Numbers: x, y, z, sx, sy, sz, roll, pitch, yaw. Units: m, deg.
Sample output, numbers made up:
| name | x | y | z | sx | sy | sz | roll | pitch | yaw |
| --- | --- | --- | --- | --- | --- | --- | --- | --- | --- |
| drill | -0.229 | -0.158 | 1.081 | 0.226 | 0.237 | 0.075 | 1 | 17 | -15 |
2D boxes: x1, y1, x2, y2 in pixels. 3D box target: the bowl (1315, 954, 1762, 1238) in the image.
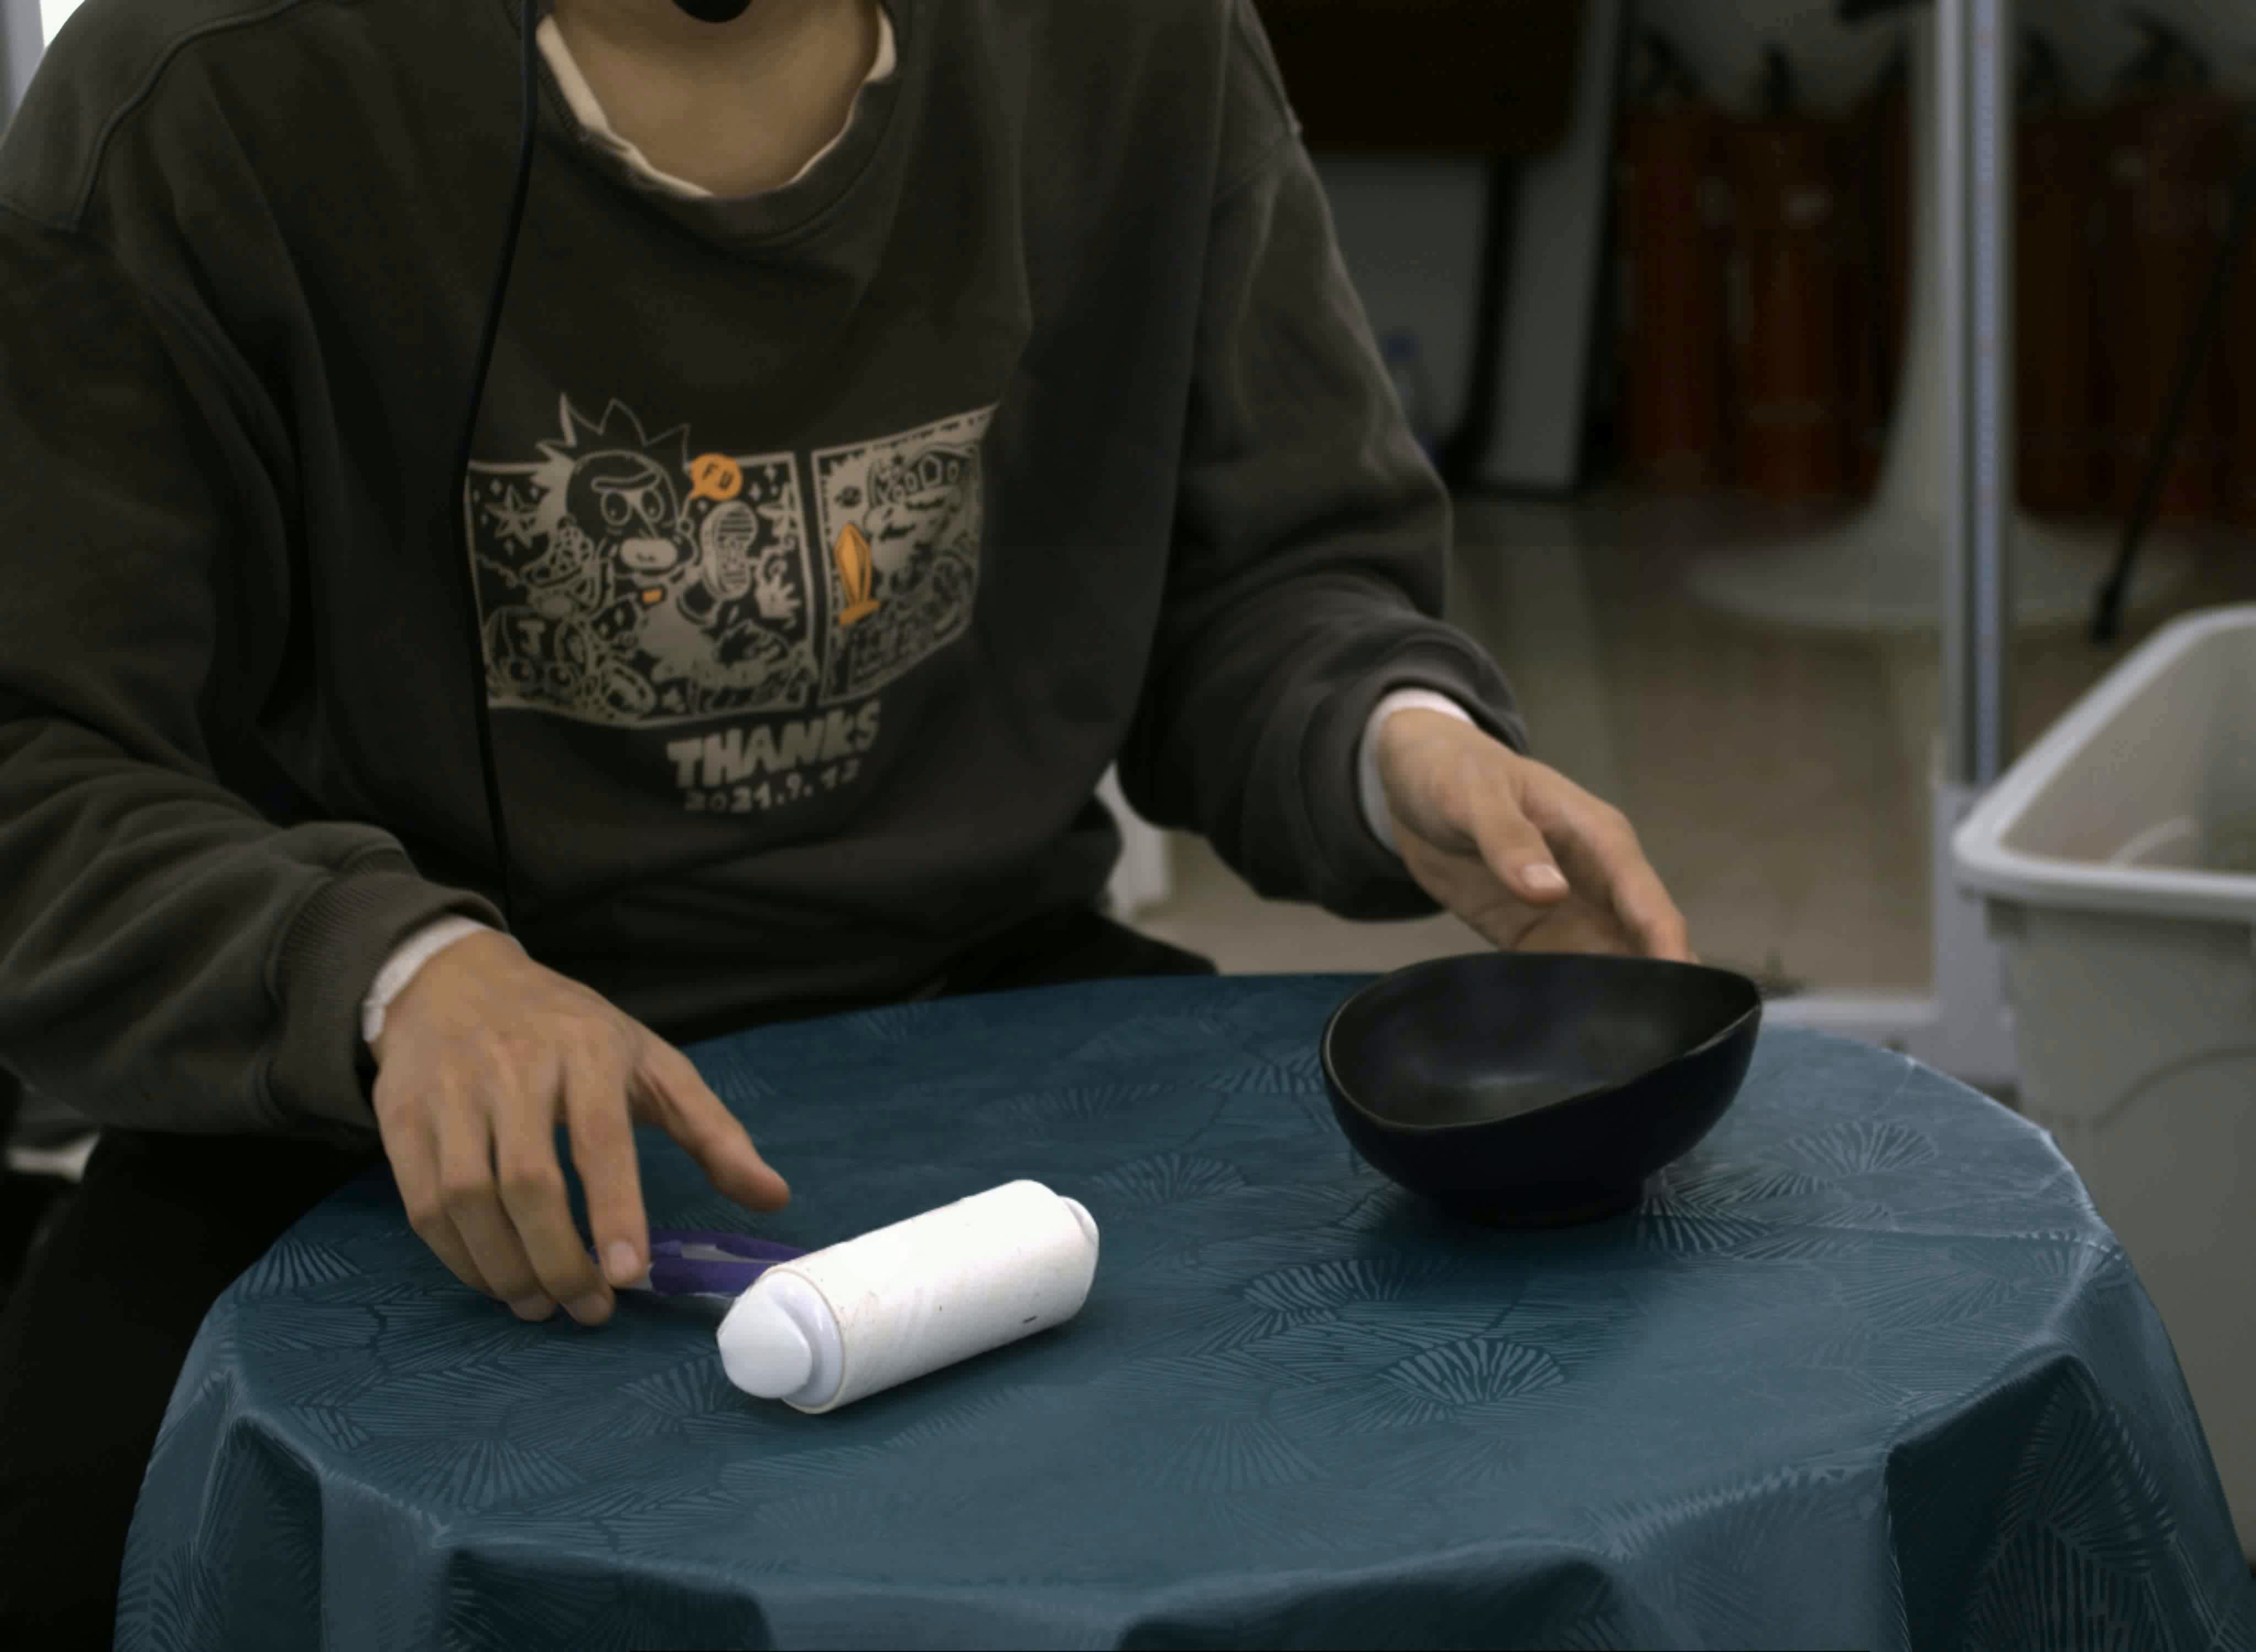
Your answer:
| name | x | y | z | sx | sy | sz | roll | pitch | yaw |
| --- | --- | --- | --- | --- | --- | --- | --- | --- | --- |
| bowl | 0.134 | 0.091 | 1.730 | 0.138 | 0.067 | 0.167 | 3 | 17 | 32 |

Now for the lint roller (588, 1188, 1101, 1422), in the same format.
| name | x | y | z | sx | sy | sz | roll | pitch | yaw |
| --- | --- | --- | --- | --- | --- | --- | --- | --- | --- |
| lint roller | -0.105 | 0.132 | 1.663 | 0.130 | 0.051 | 0.182 | -15 | 20 | -39 |
